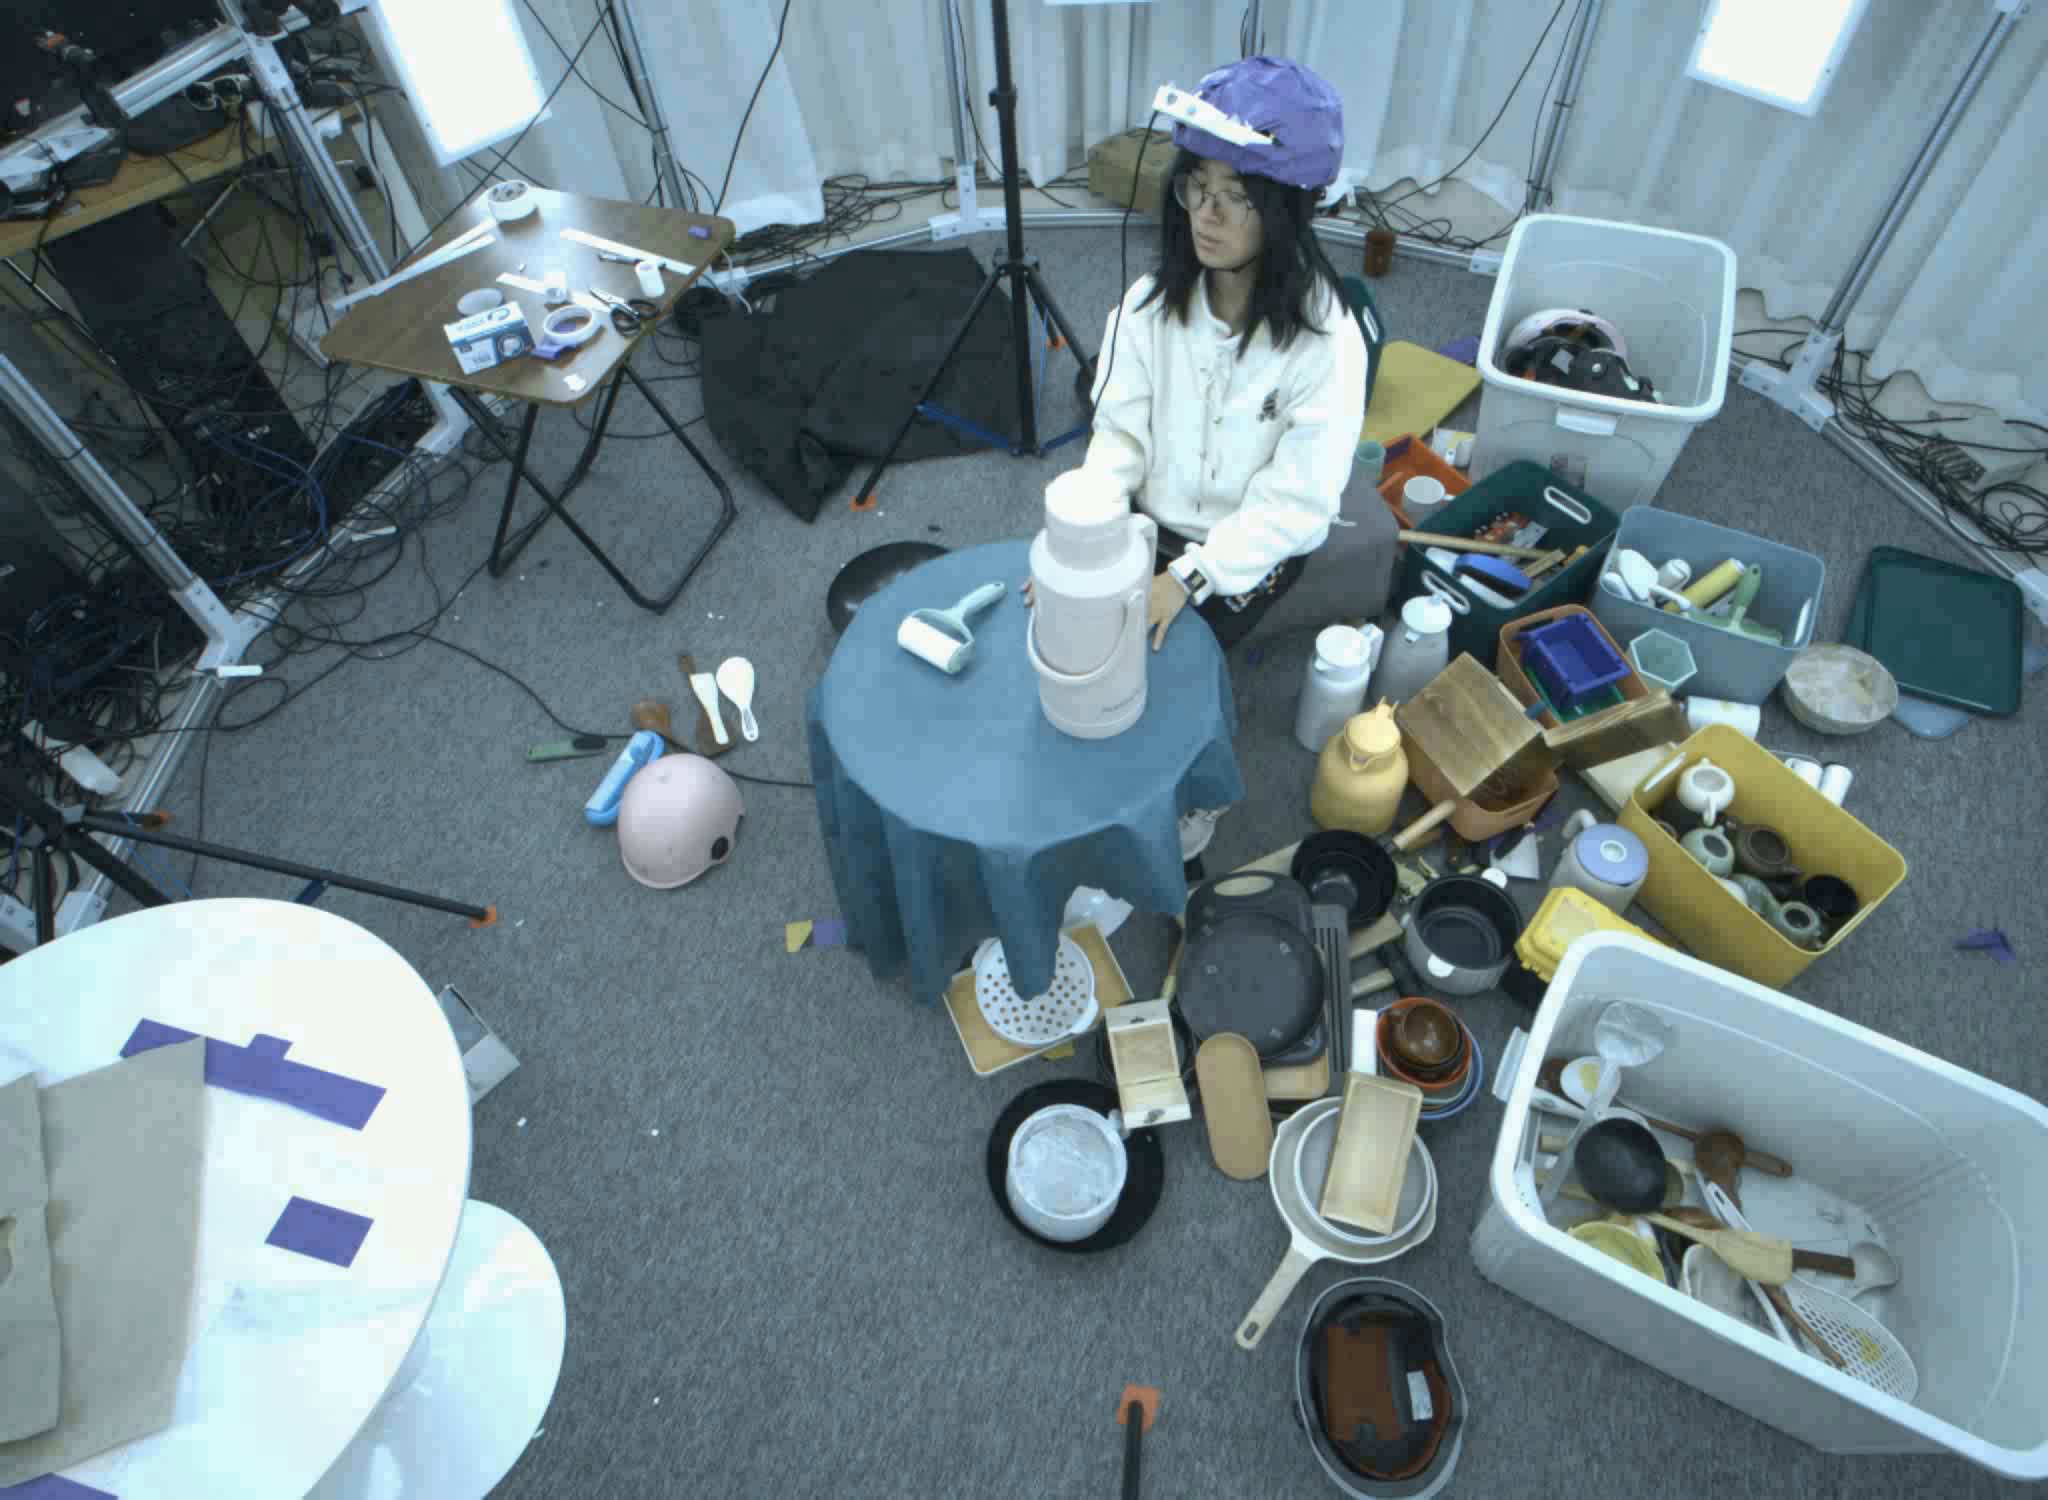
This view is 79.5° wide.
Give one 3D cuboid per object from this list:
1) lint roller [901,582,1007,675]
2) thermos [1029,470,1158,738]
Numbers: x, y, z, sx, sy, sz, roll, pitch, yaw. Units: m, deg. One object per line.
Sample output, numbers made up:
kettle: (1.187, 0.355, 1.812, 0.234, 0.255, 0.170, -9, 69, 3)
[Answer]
lint roller: (-0.090, -0.205, 1.907, 0.114, 0.049, 0.198, 30, 62, 24)
thermos: (0.101, -0.203, 1.684, 0.208, 0.411, 0.172, -39, 60, -22)
